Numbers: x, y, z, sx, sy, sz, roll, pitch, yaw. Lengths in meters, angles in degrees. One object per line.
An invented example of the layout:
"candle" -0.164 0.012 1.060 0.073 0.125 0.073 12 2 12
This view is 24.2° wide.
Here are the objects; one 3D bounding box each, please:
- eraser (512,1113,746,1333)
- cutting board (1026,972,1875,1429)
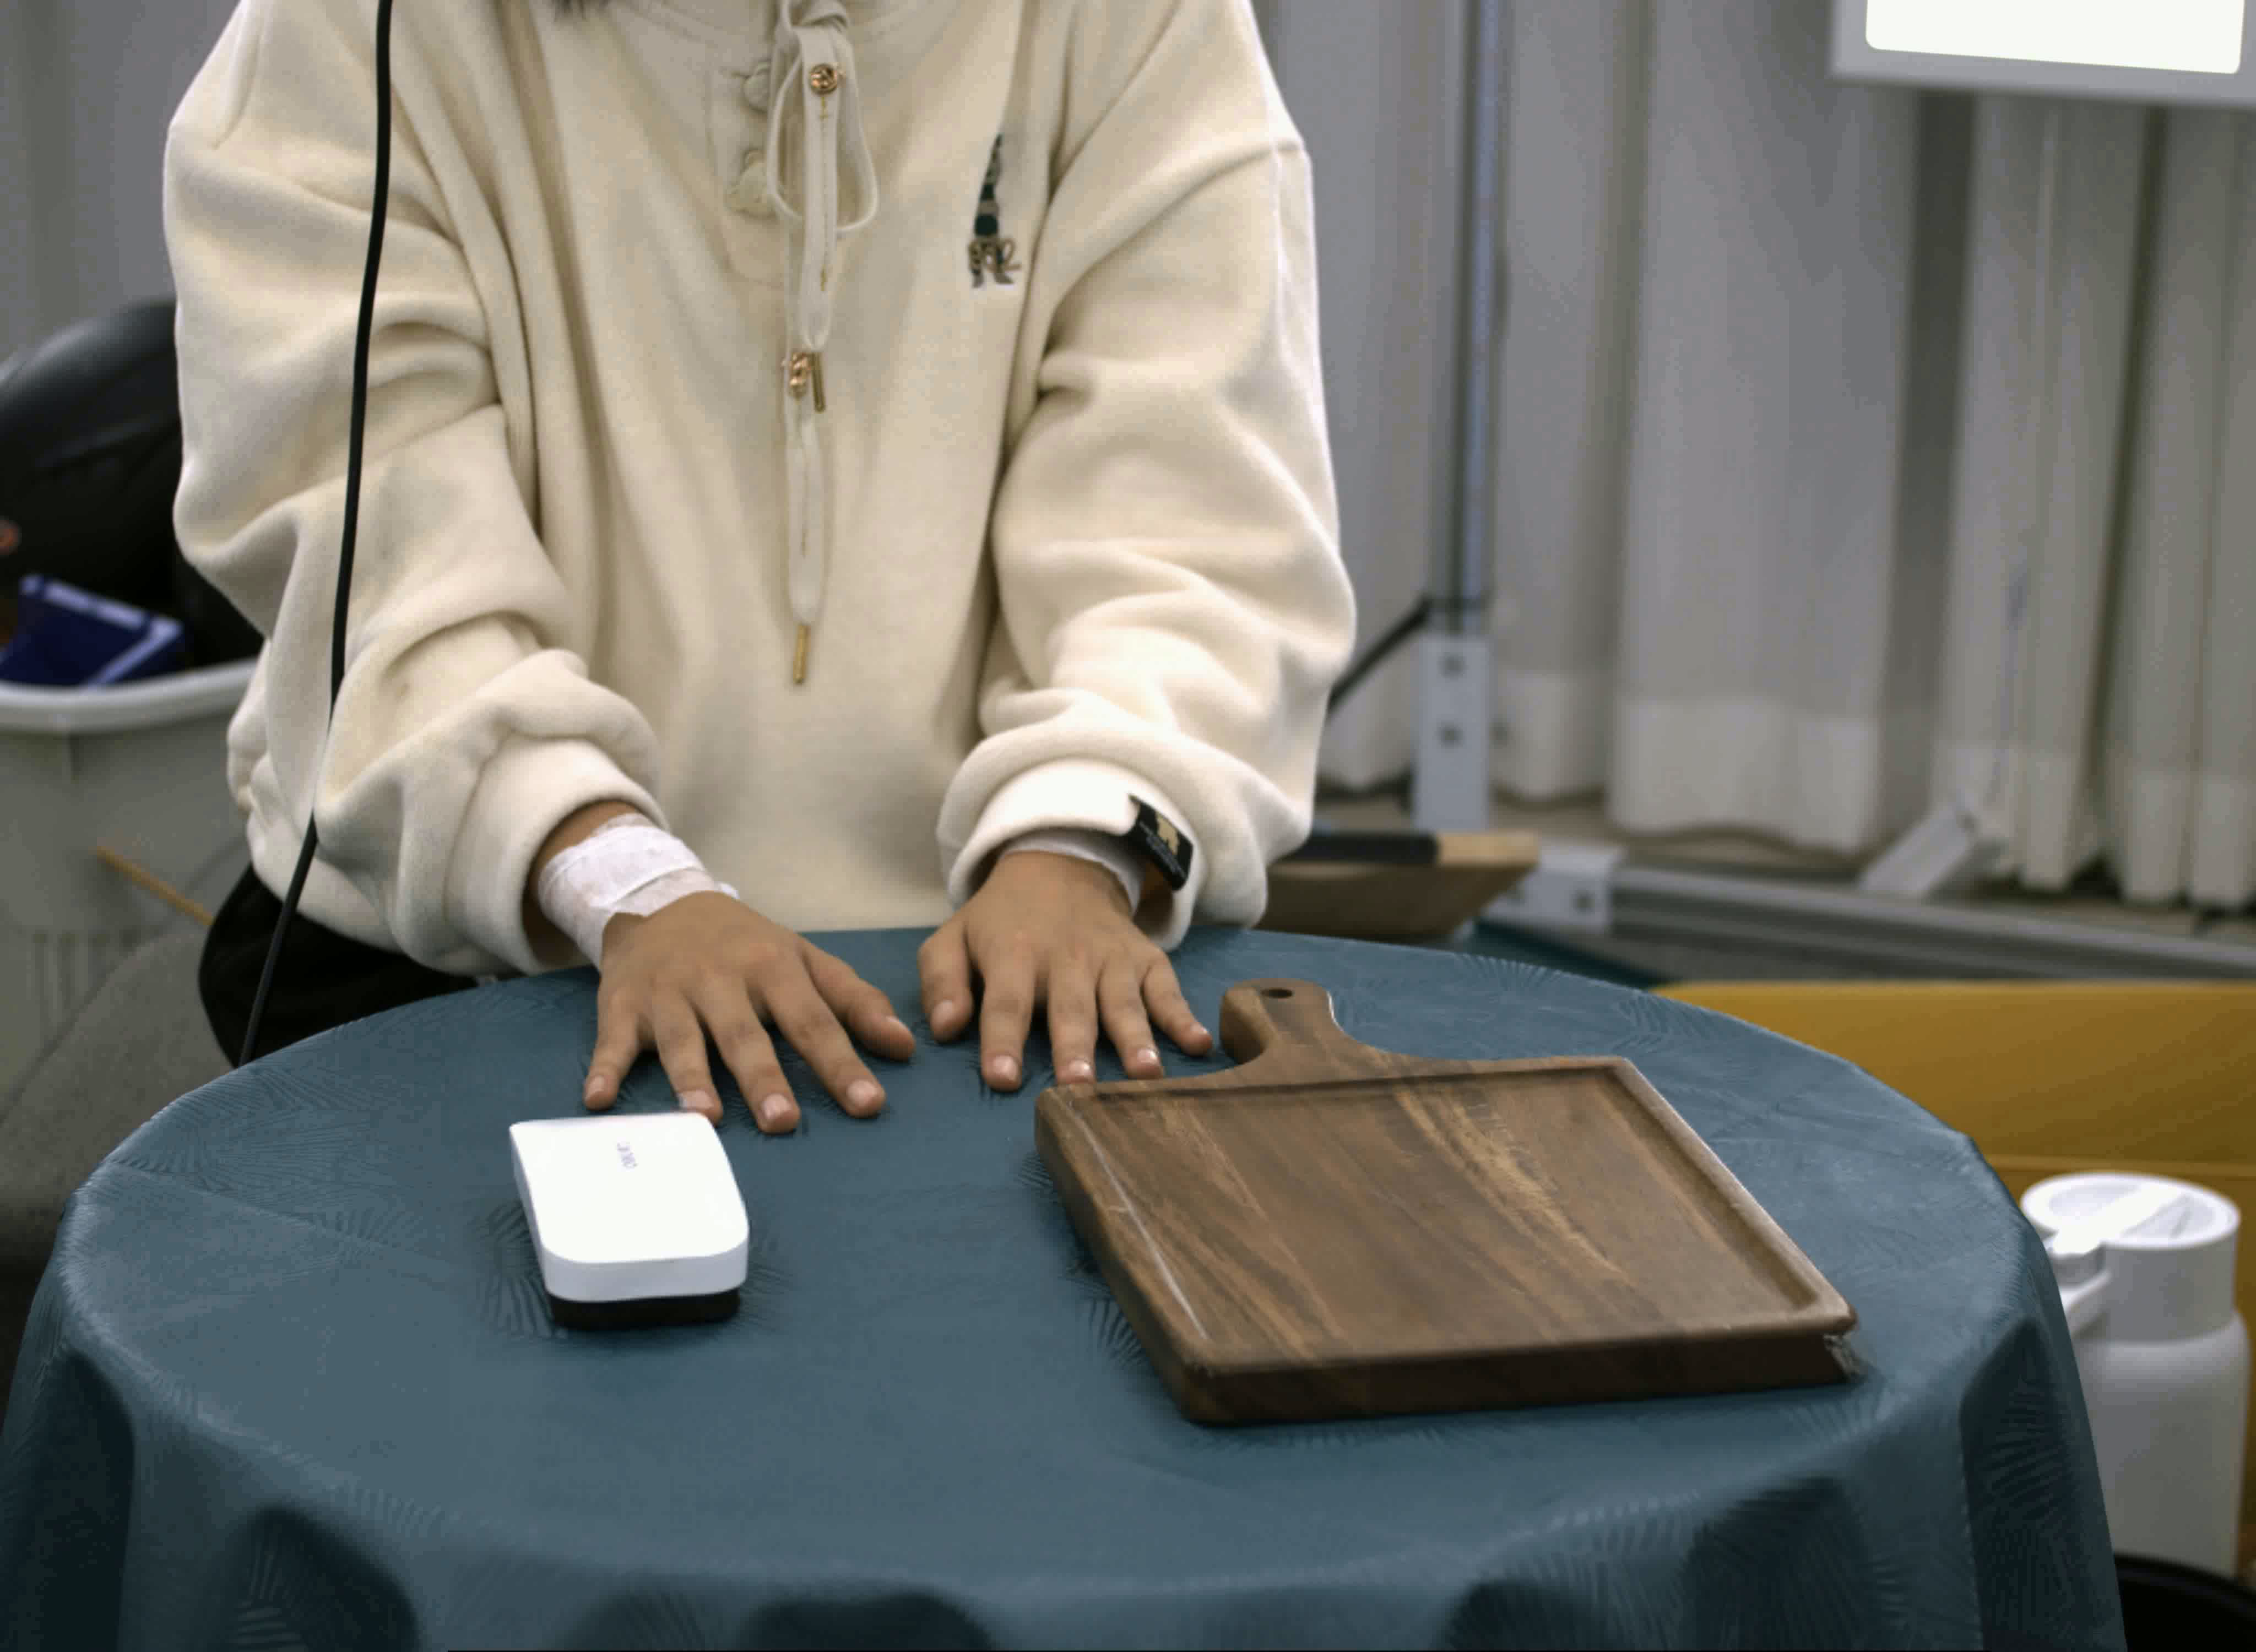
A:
"eraser" -0.147 0.113 1.558 0.063 0.035 0.130 -3 16 -10
"cutting board" 0.079 0.105 1.609 0.201 0.023 0.349 -2 16 -12
